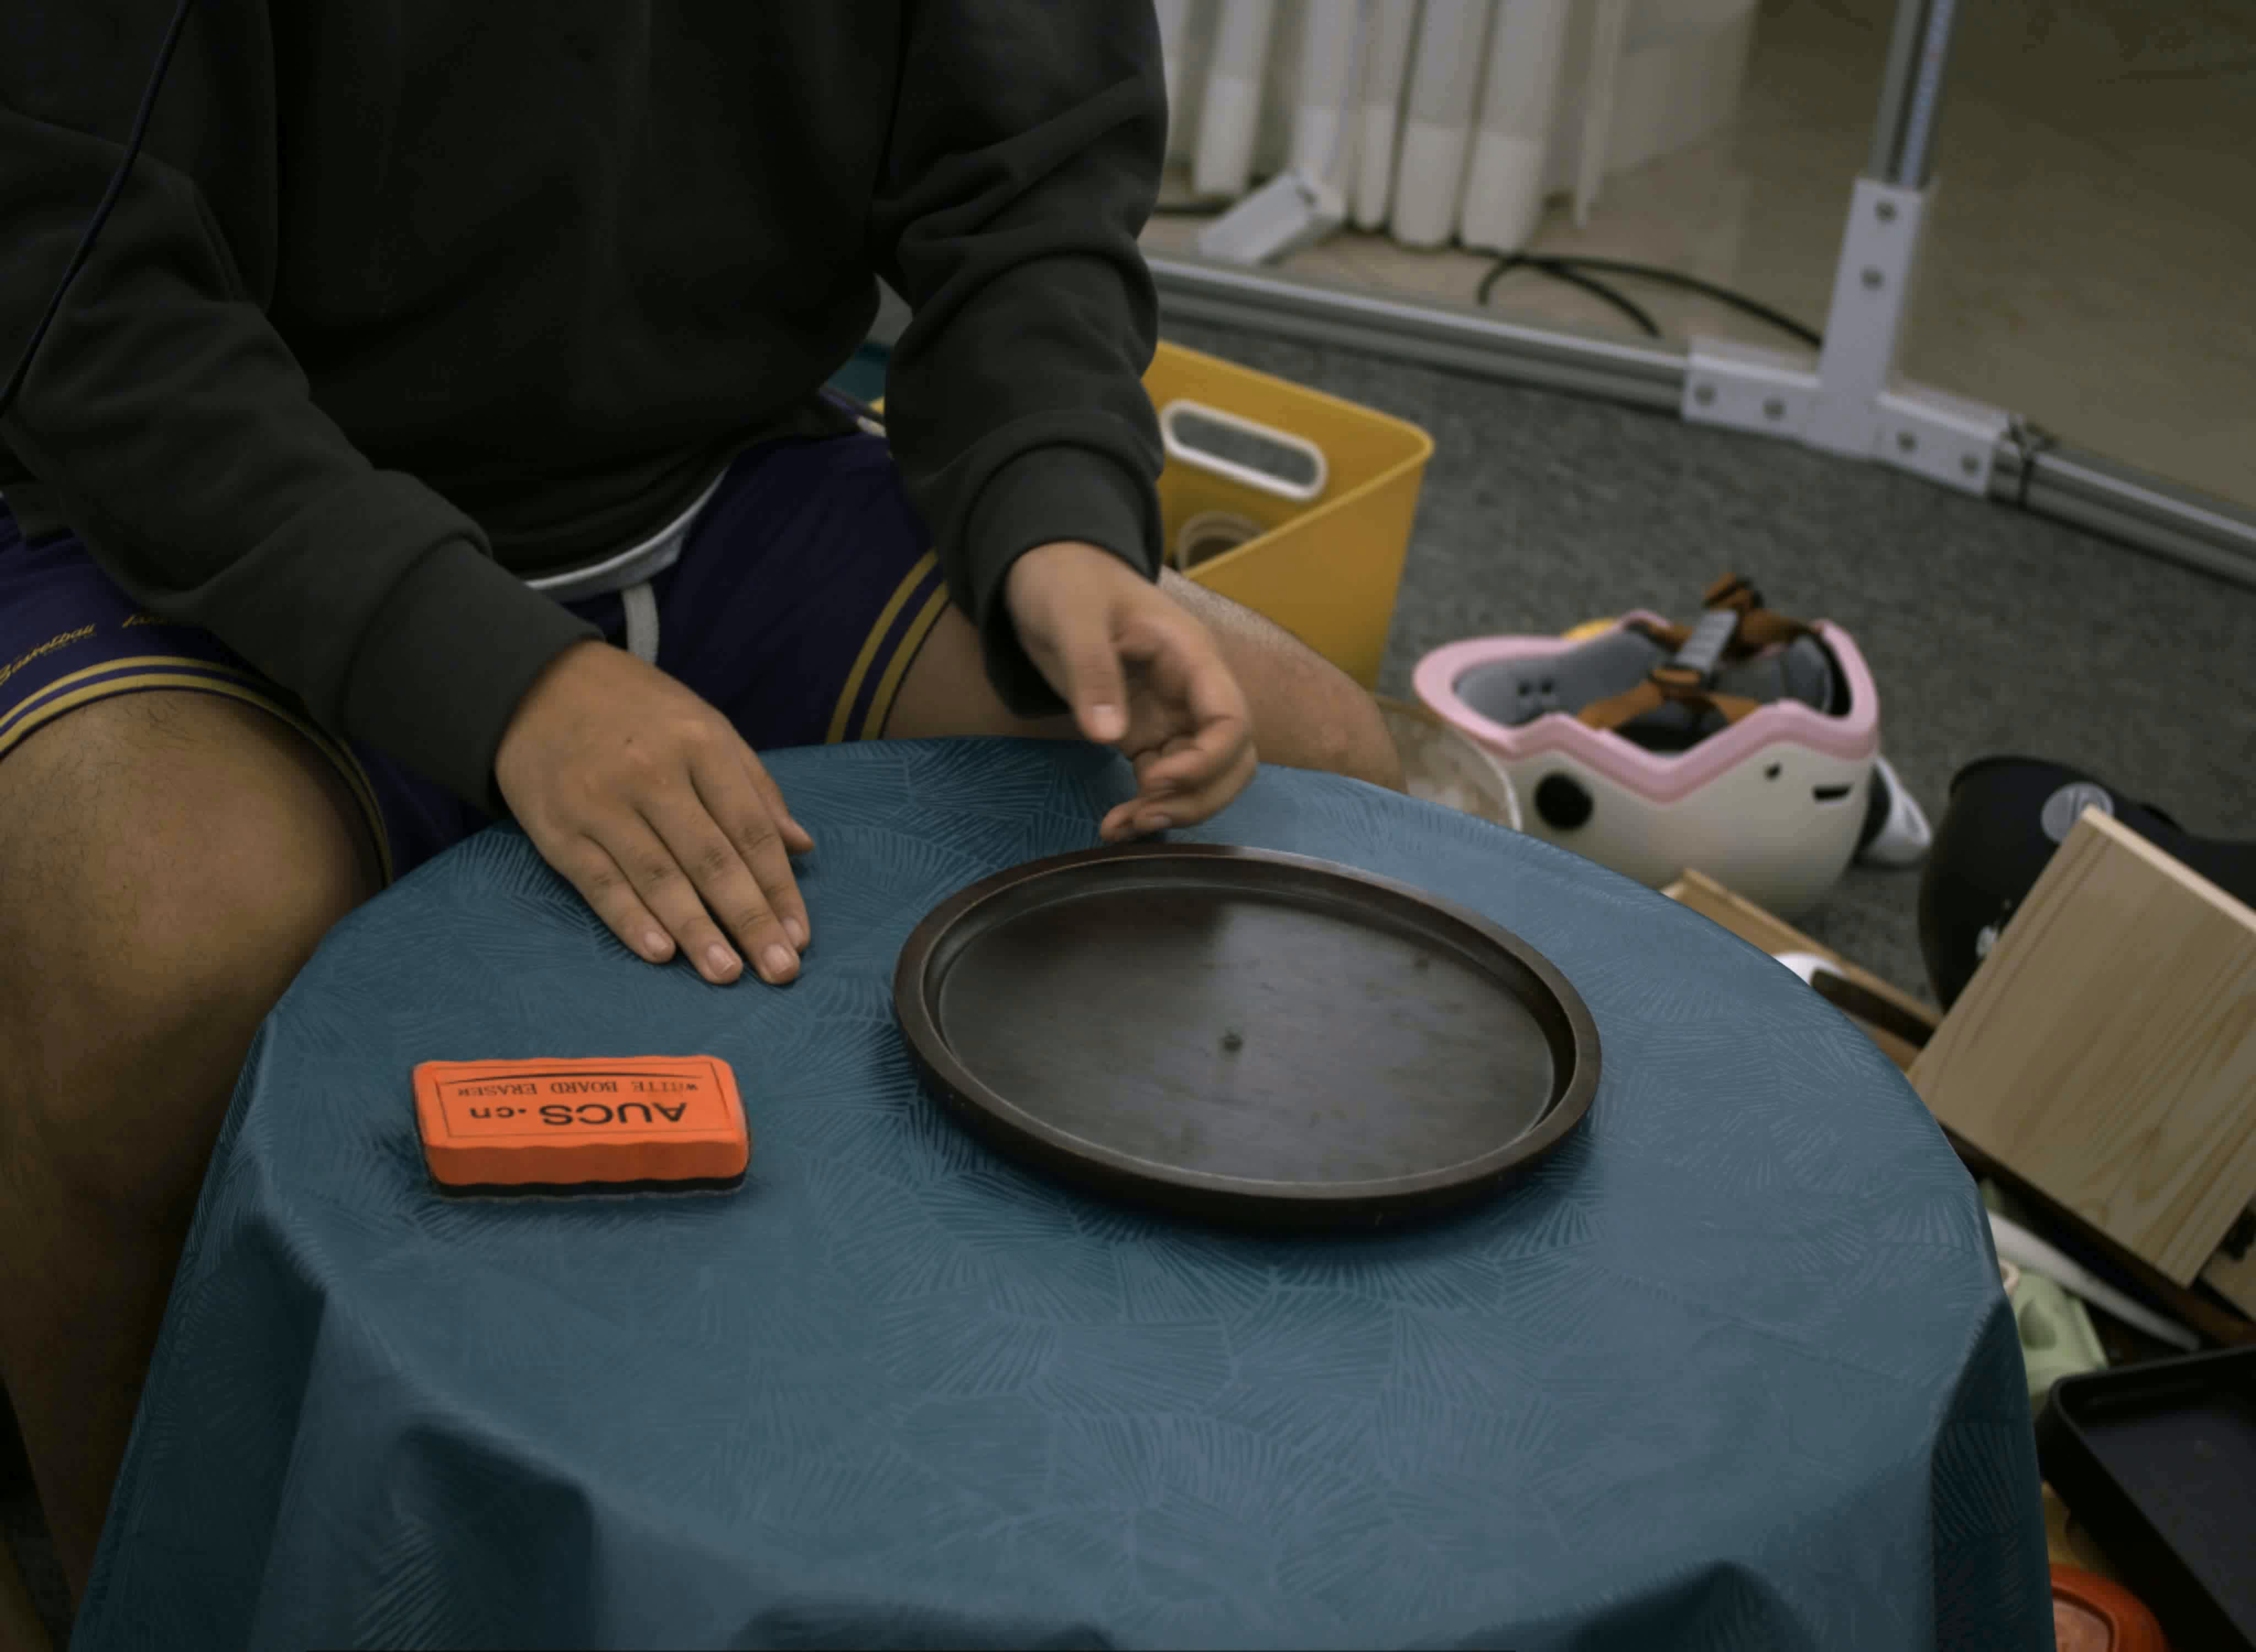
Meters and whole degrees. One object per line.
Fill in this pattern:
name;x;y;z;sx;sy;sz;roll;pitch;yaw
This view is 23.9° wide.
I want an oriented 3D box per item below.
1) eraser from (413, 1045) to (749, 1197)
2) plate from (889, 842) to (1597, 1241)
eraser;-0.183;0.098;1.777;0.107;0.023;0.059;-2;28;-14
plate;0.041;0.074;1.883;0.254;0.029;0.256;4;28;-2
